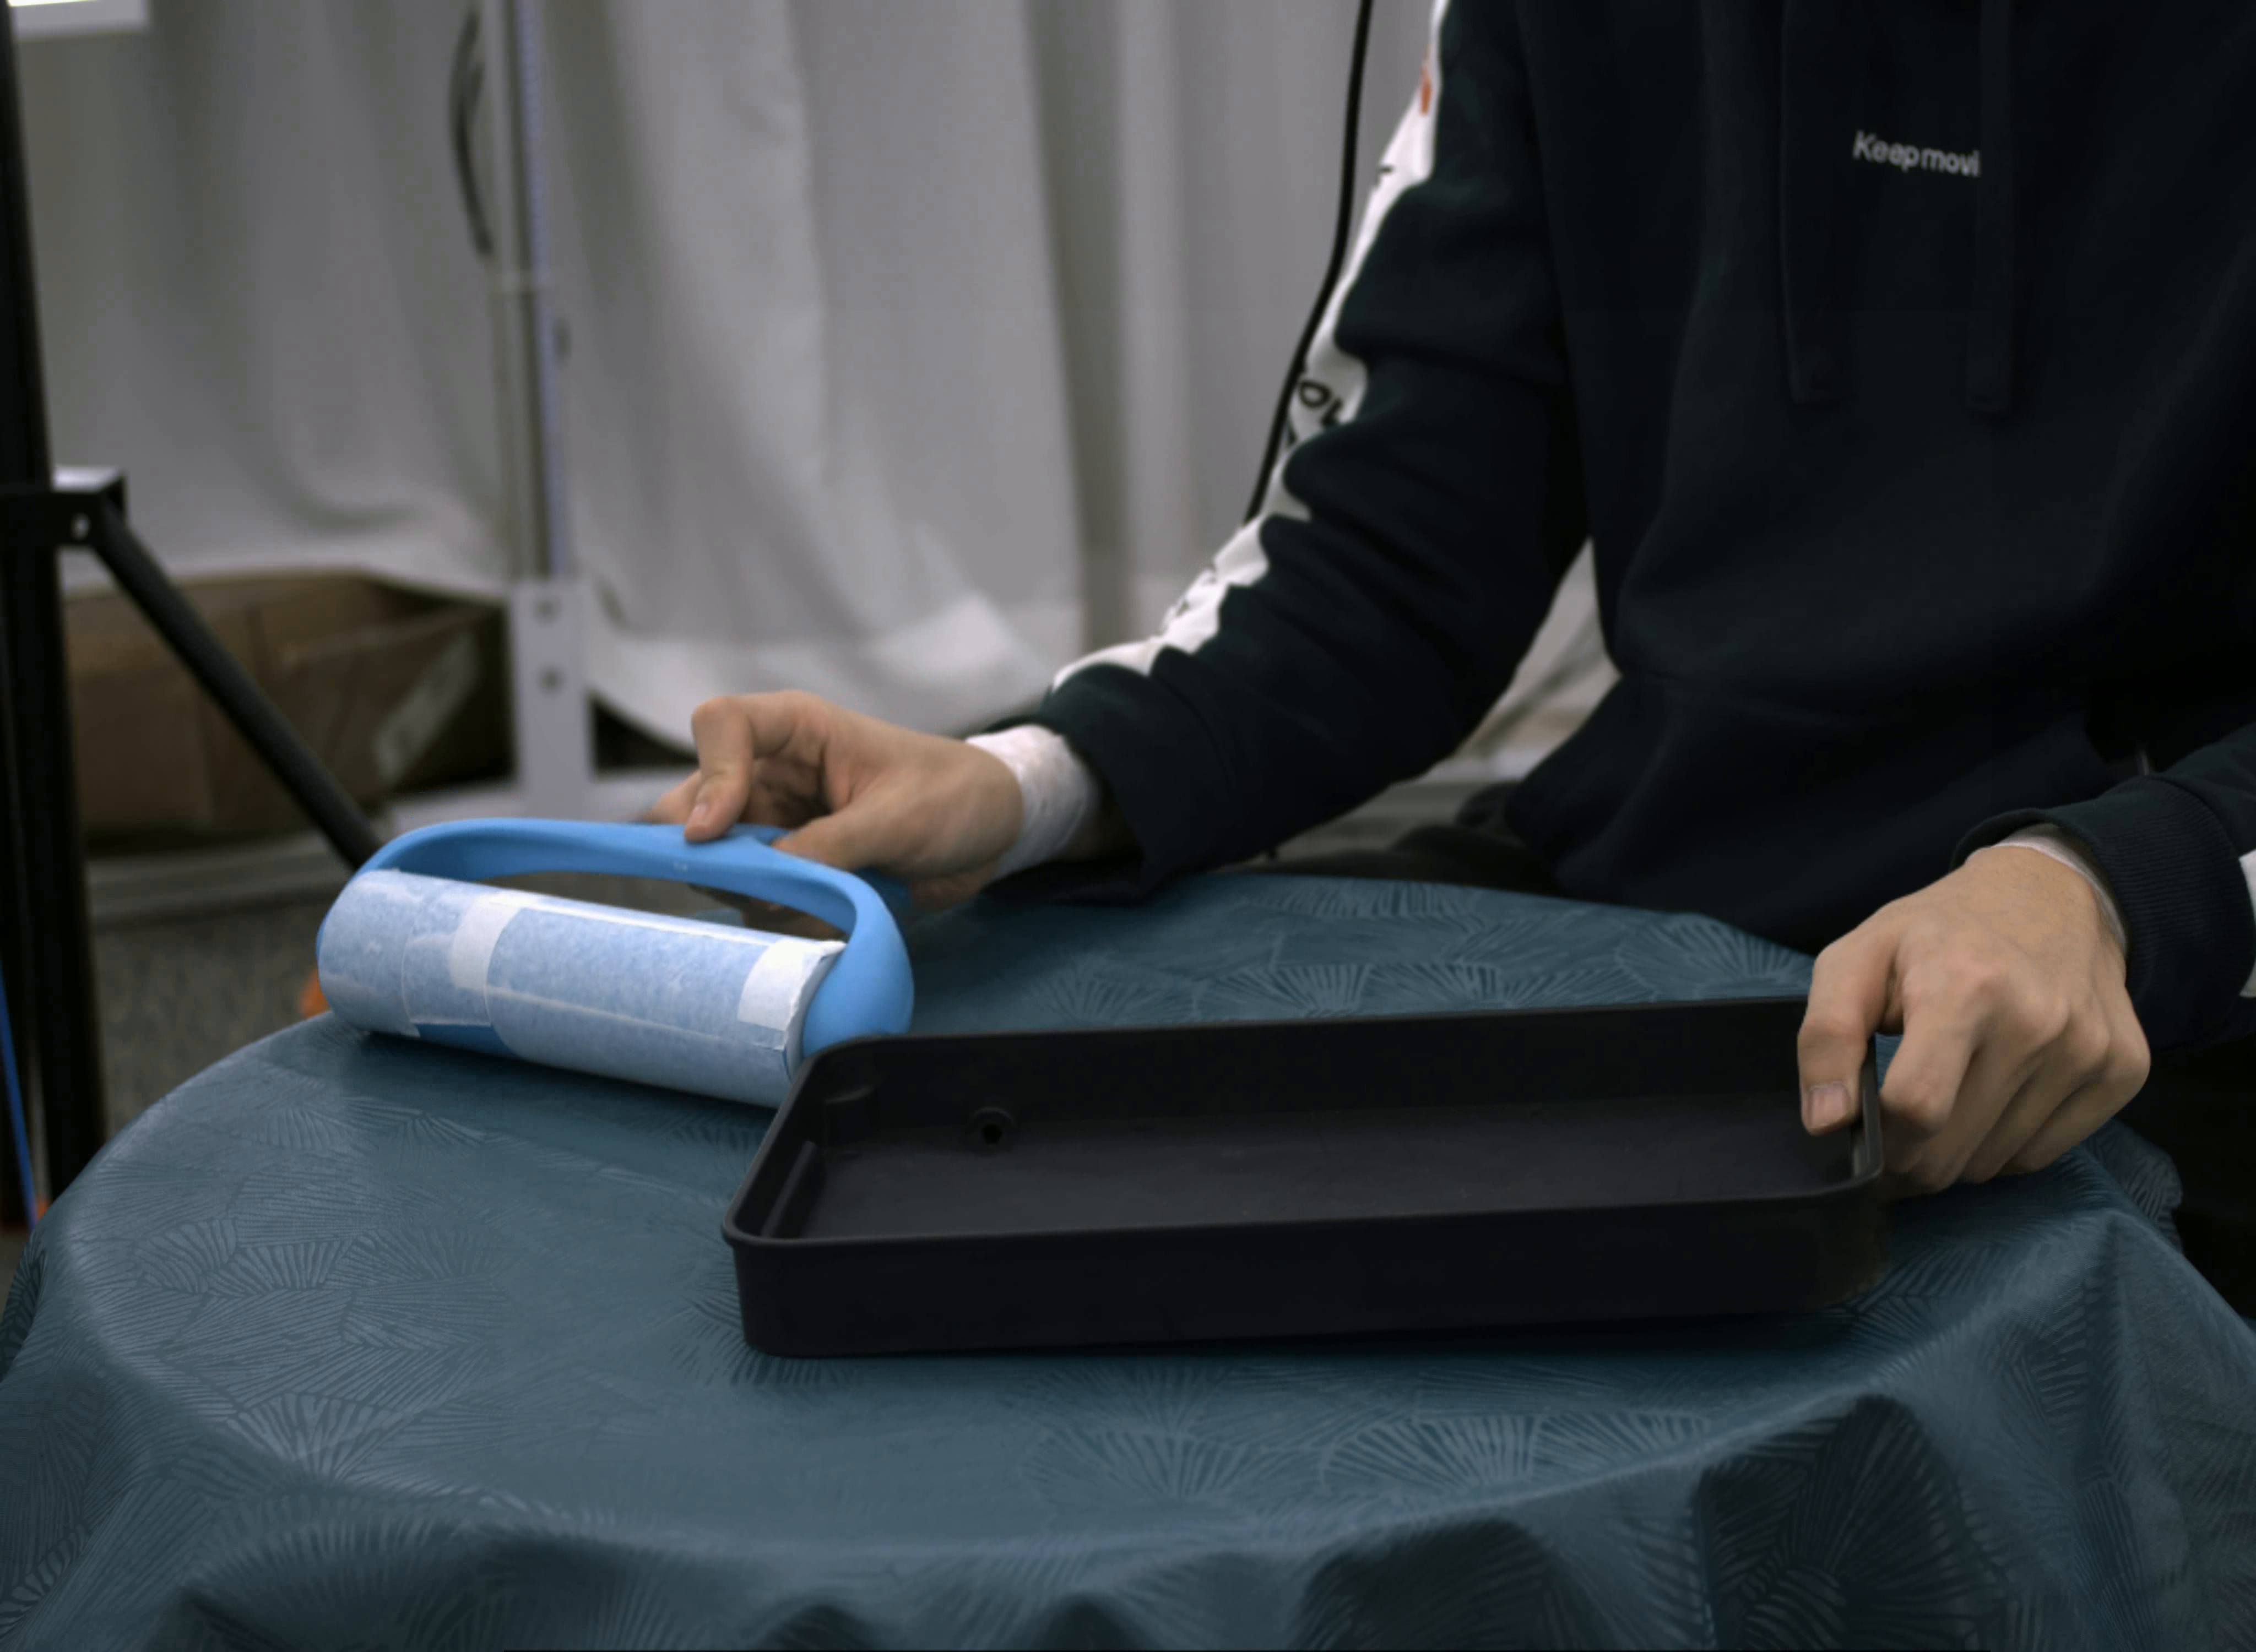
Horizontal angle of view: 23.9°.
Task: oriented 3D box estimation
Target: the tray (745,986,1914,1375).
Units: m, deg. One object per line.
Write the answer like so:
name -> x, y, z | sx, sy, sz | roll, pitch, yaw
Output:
tray -> 0.060, 0.098, 1.497 | 0.318, 0.037, 0.184 | -5, 14, 8

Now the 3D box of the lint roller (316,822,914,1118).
lint roller -> -0.135, 0.031, 1.728 | 0.233, 0.068, 0.177 | 5, 22, 34
